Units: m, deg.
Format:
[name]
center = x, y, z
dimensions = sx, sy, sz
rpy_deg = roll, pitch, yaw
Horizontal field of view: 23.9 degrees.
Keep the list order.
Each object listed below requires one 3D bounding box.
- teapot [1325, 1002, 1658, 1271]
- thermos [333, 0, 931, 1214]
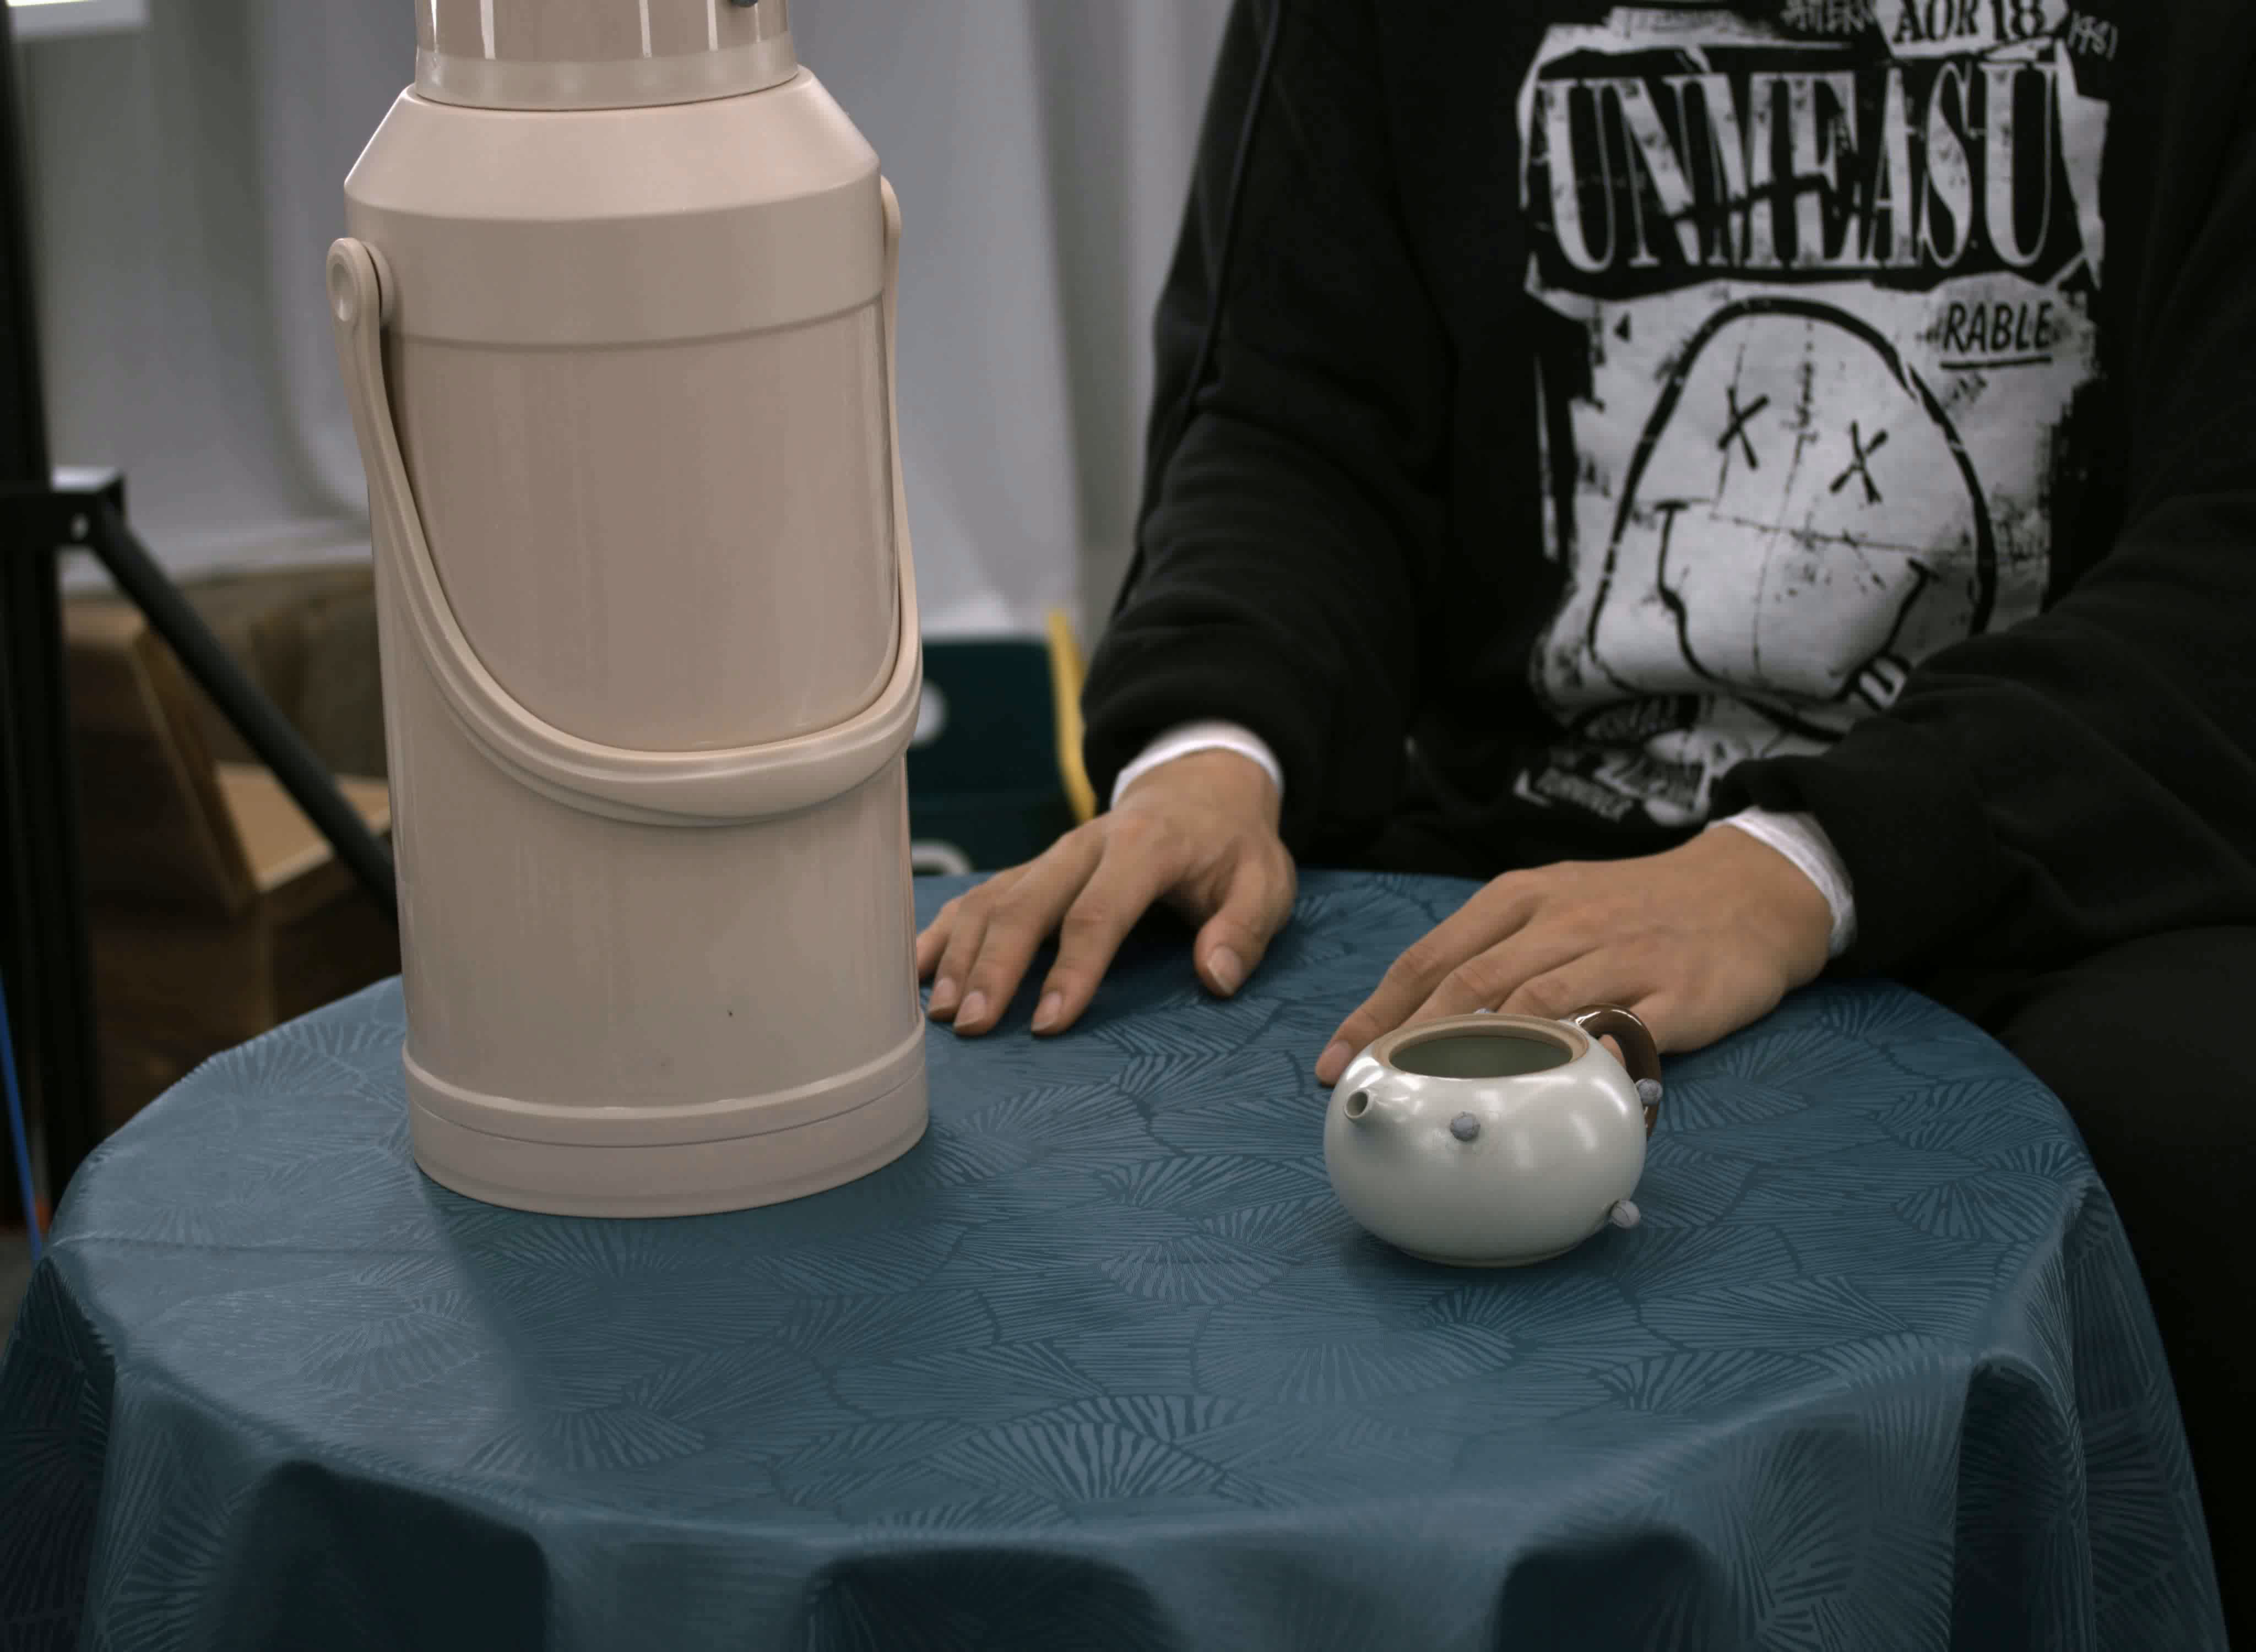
[teapot]
center = 0.108, 0.087, 1.502
dimensions = 0.094, 0.059, 0.125
rpy_deg = 8, 19, 44
[thermos]
center = -0.151, -0.101, 1.594
dimensions = 0.171, 0.406, 0.211
rpy_deg = -12, 18, -29
